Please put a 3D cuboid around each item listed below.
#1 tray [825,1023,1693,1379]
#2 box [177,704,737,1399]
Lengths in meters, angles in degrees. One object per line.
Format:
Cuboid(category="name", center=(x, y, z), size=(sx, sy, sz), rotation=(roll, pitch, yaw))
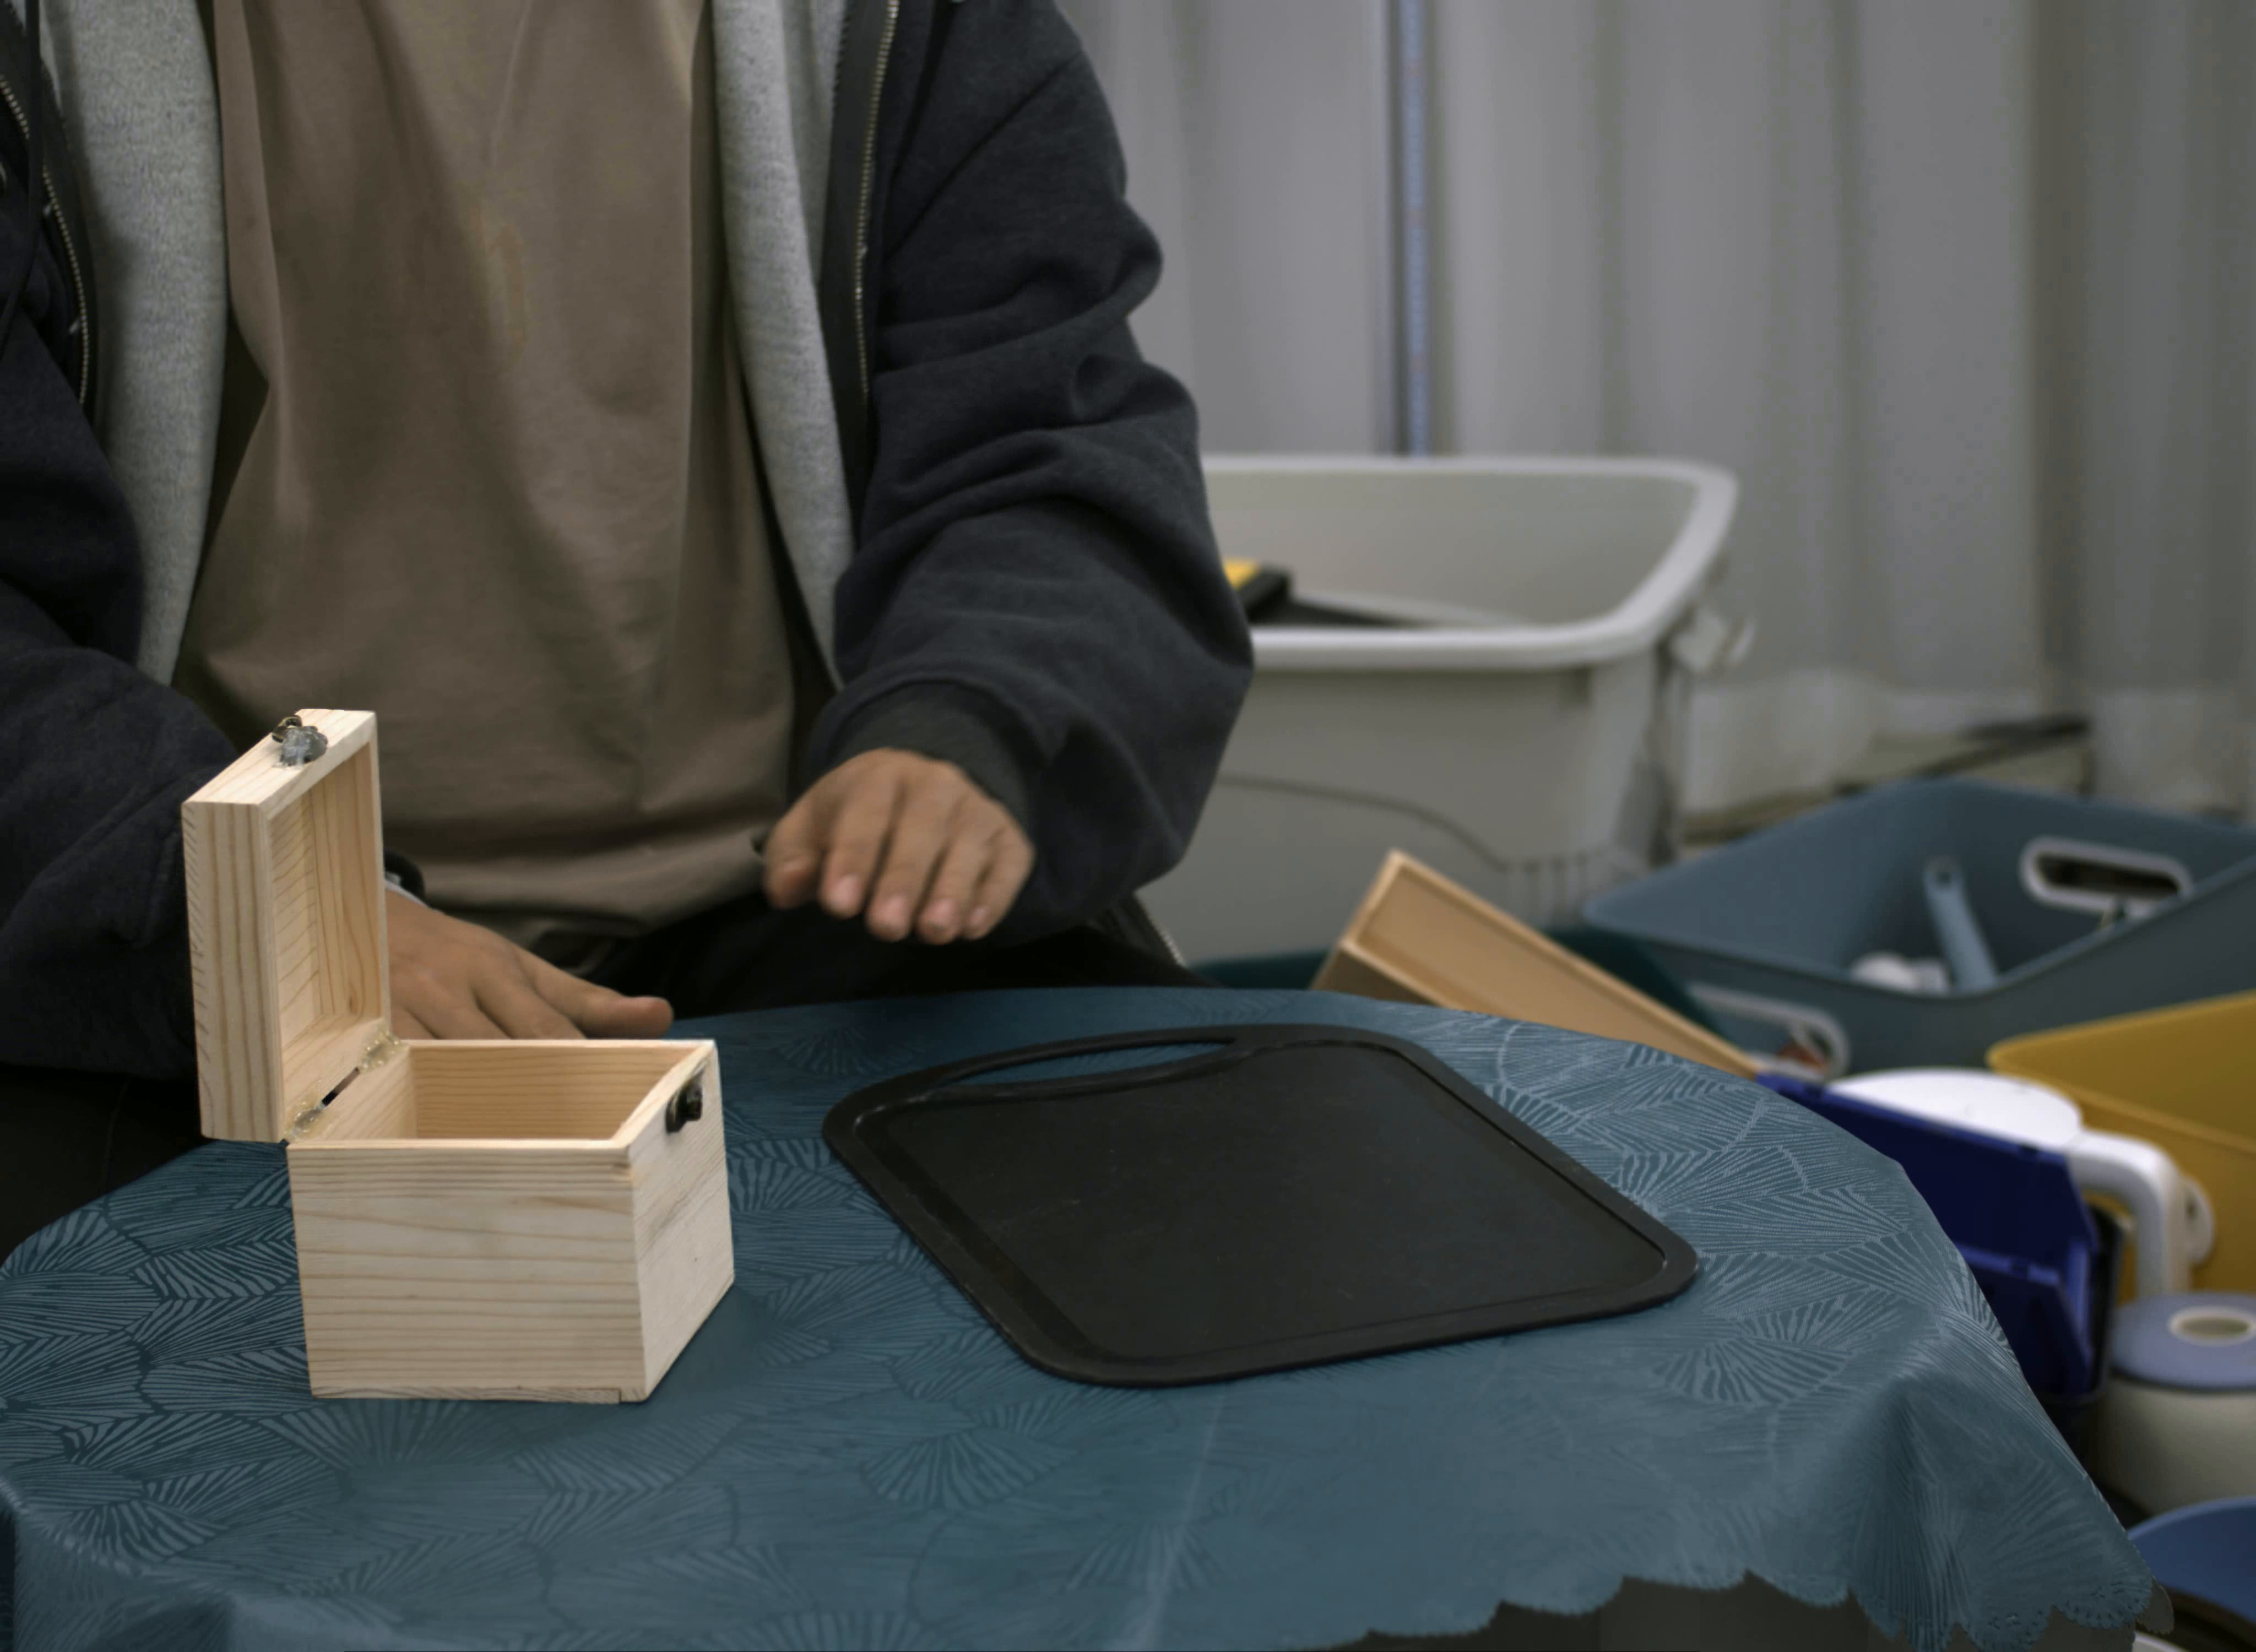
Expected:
Cuboid(category="tray", center=(0.030, 0.110, 1.713), size=(0.210, 0.010, 0.328), rotation=(-7, 16, -16))
Cuboid(category="box", center=(-0.190, 0.063, 1.591), size=(0.133, 0.184, 0.103), rotation=(-1, 15, 11))
